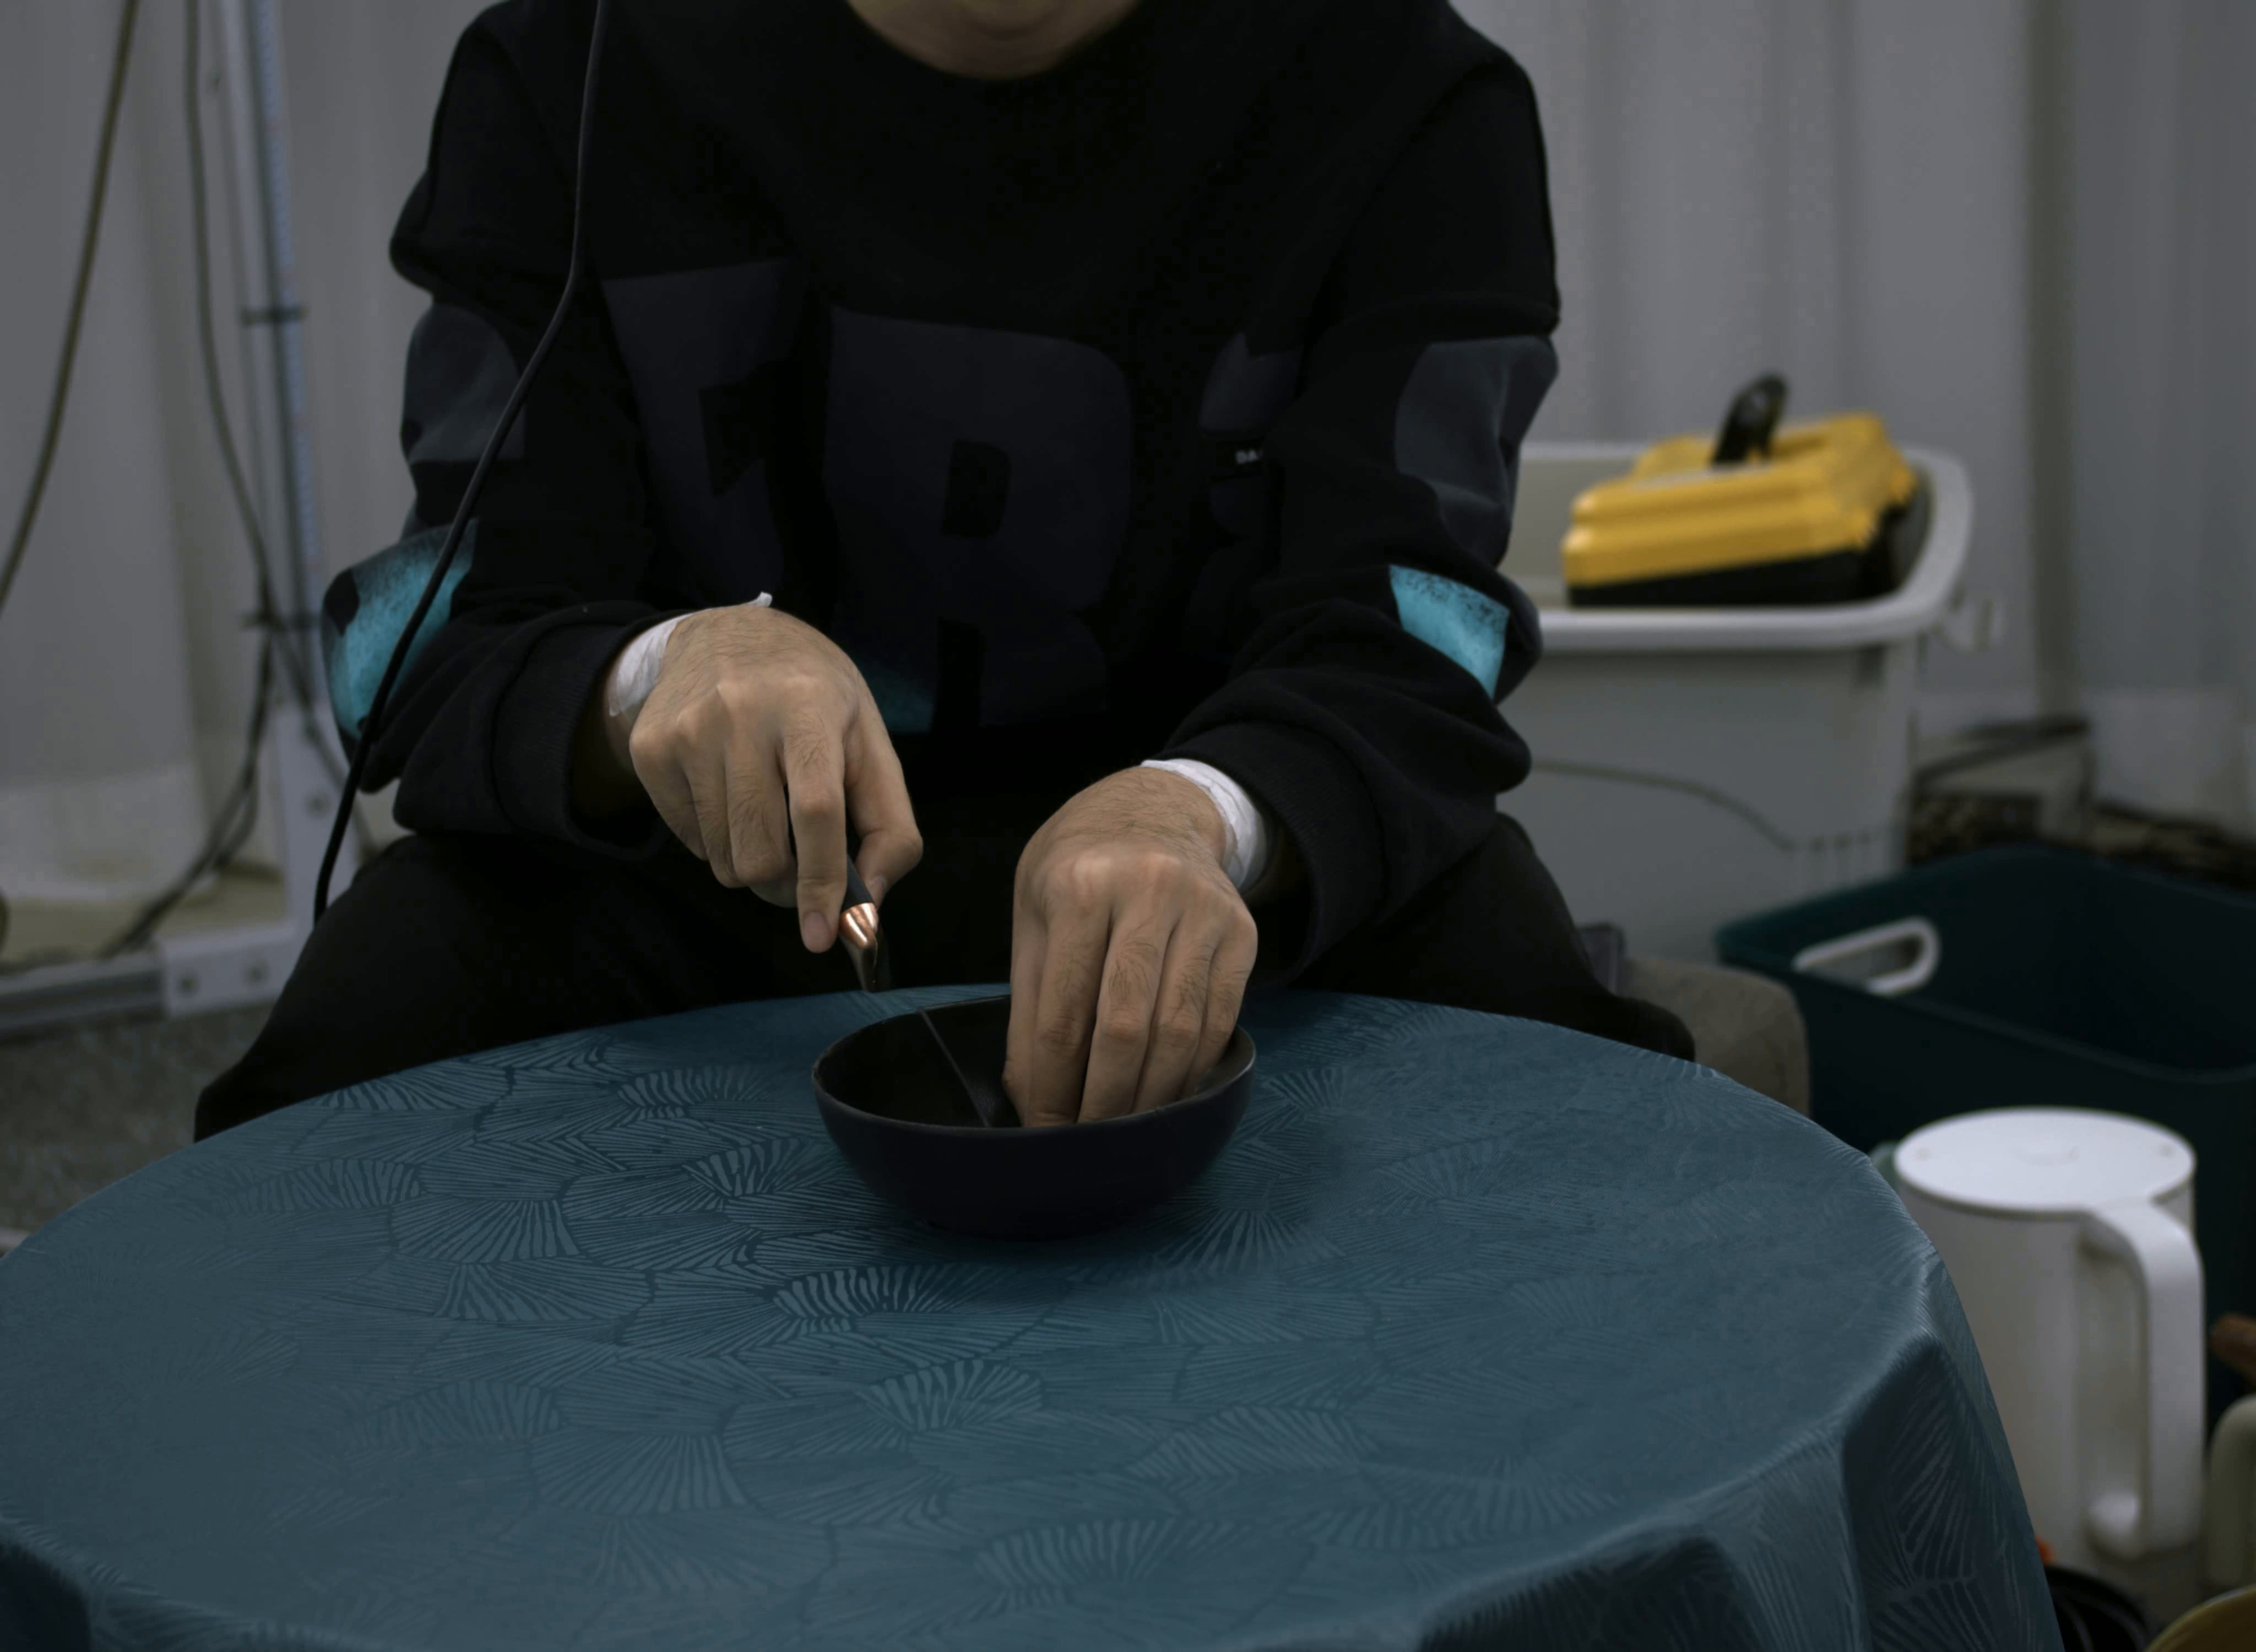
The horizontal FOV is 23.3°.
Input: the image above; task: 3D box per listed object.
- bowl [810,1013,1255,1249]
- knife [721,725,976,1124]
[{"bbox_3d":[-0.028,0.098,1.699,0.139,0.049,0.141,-5,11,1],"label":"bowl"},{"bbox_3d":[-0.080,0.047,1.738,0.017,0.026,0.229,-17,49,-20],"label":"knife"}]
